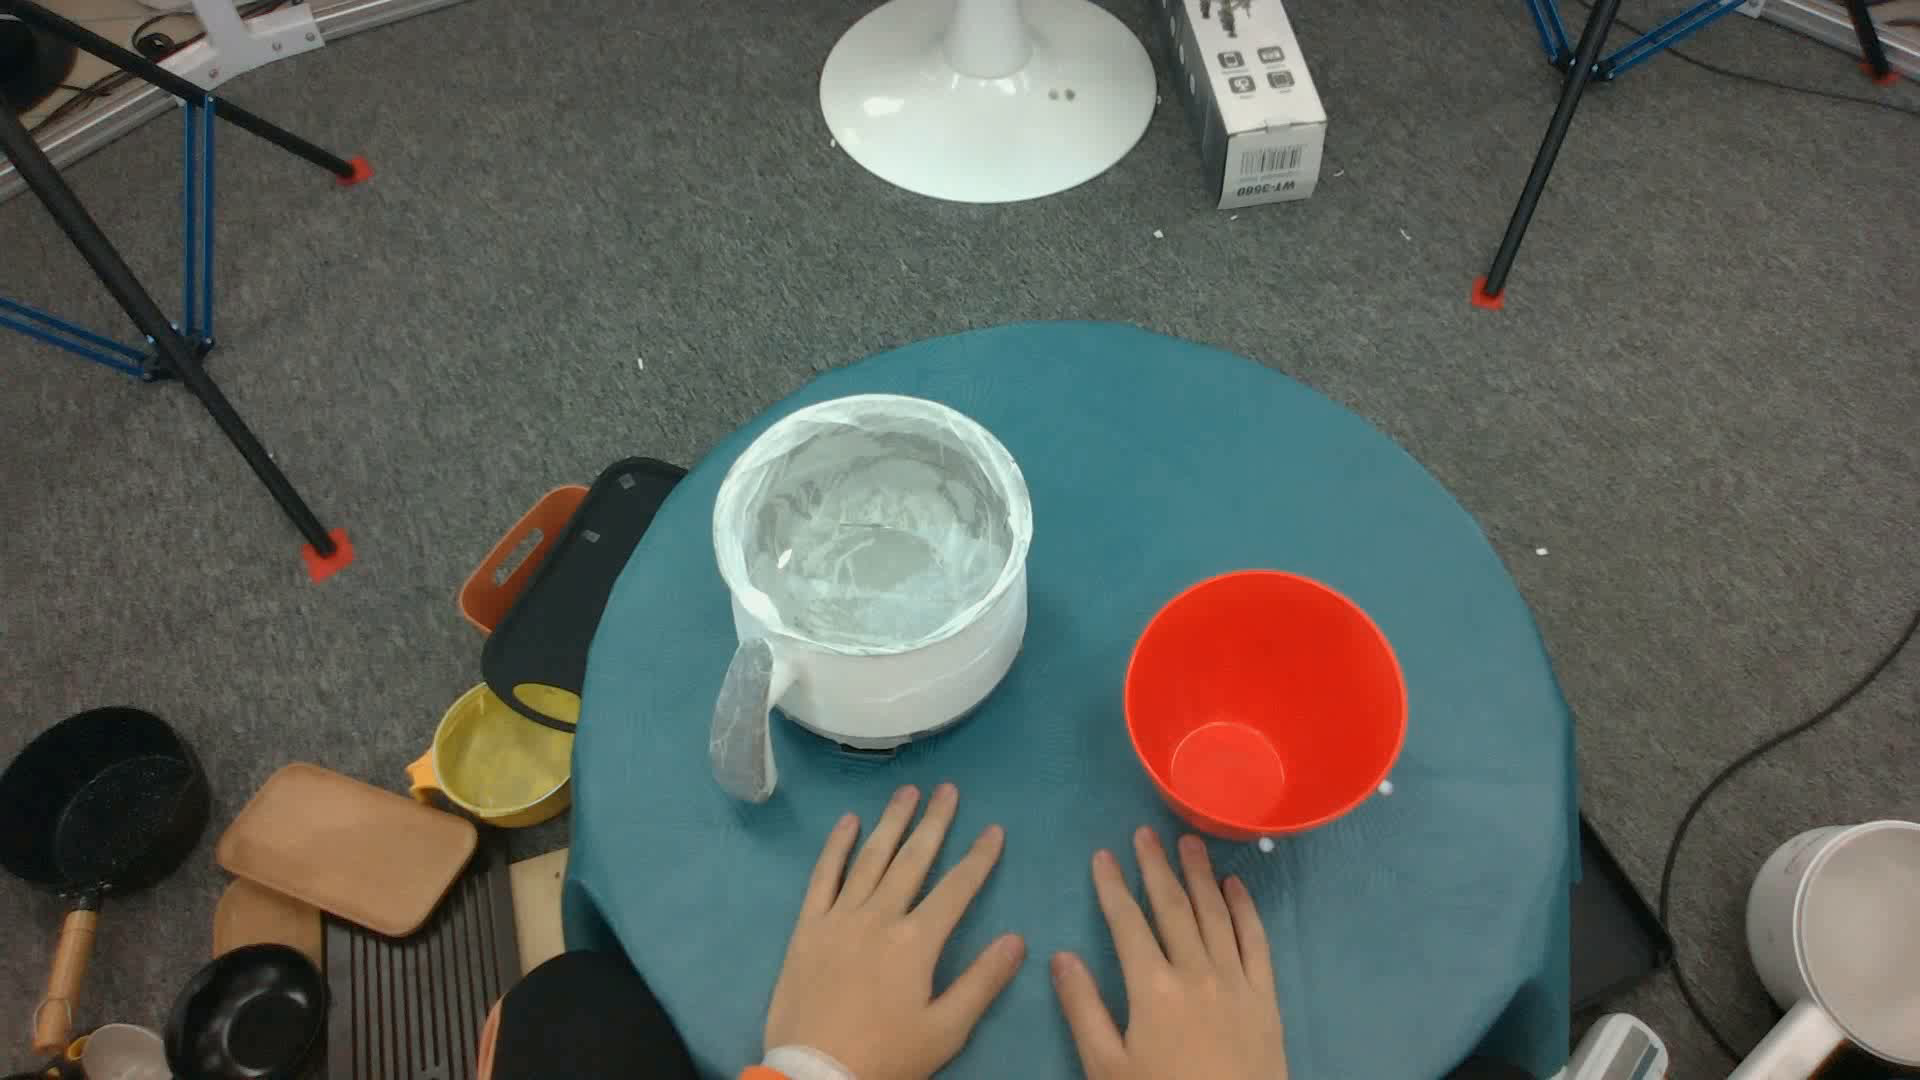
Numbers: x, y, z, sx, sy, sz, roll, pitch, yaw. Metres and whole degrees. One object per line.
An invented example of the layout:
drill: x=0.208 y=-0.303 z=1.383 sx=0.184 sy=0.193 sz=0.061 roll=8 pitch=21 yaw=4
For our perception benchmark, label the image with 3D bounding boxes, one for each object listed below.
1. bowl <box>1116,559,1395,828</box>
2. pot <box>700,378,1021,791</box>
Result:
bowl: x=0.160 y=0.099 z=0.777 sx=0.148 sy=0.104 sz=0.148 roll=-1 pitch=57 yaw=1
pot: x=-0.068 y=0.033 z=0.797 sx=0.178 sy=0.136 sz=0.235 roll=27 pitch=60 yaw=18
